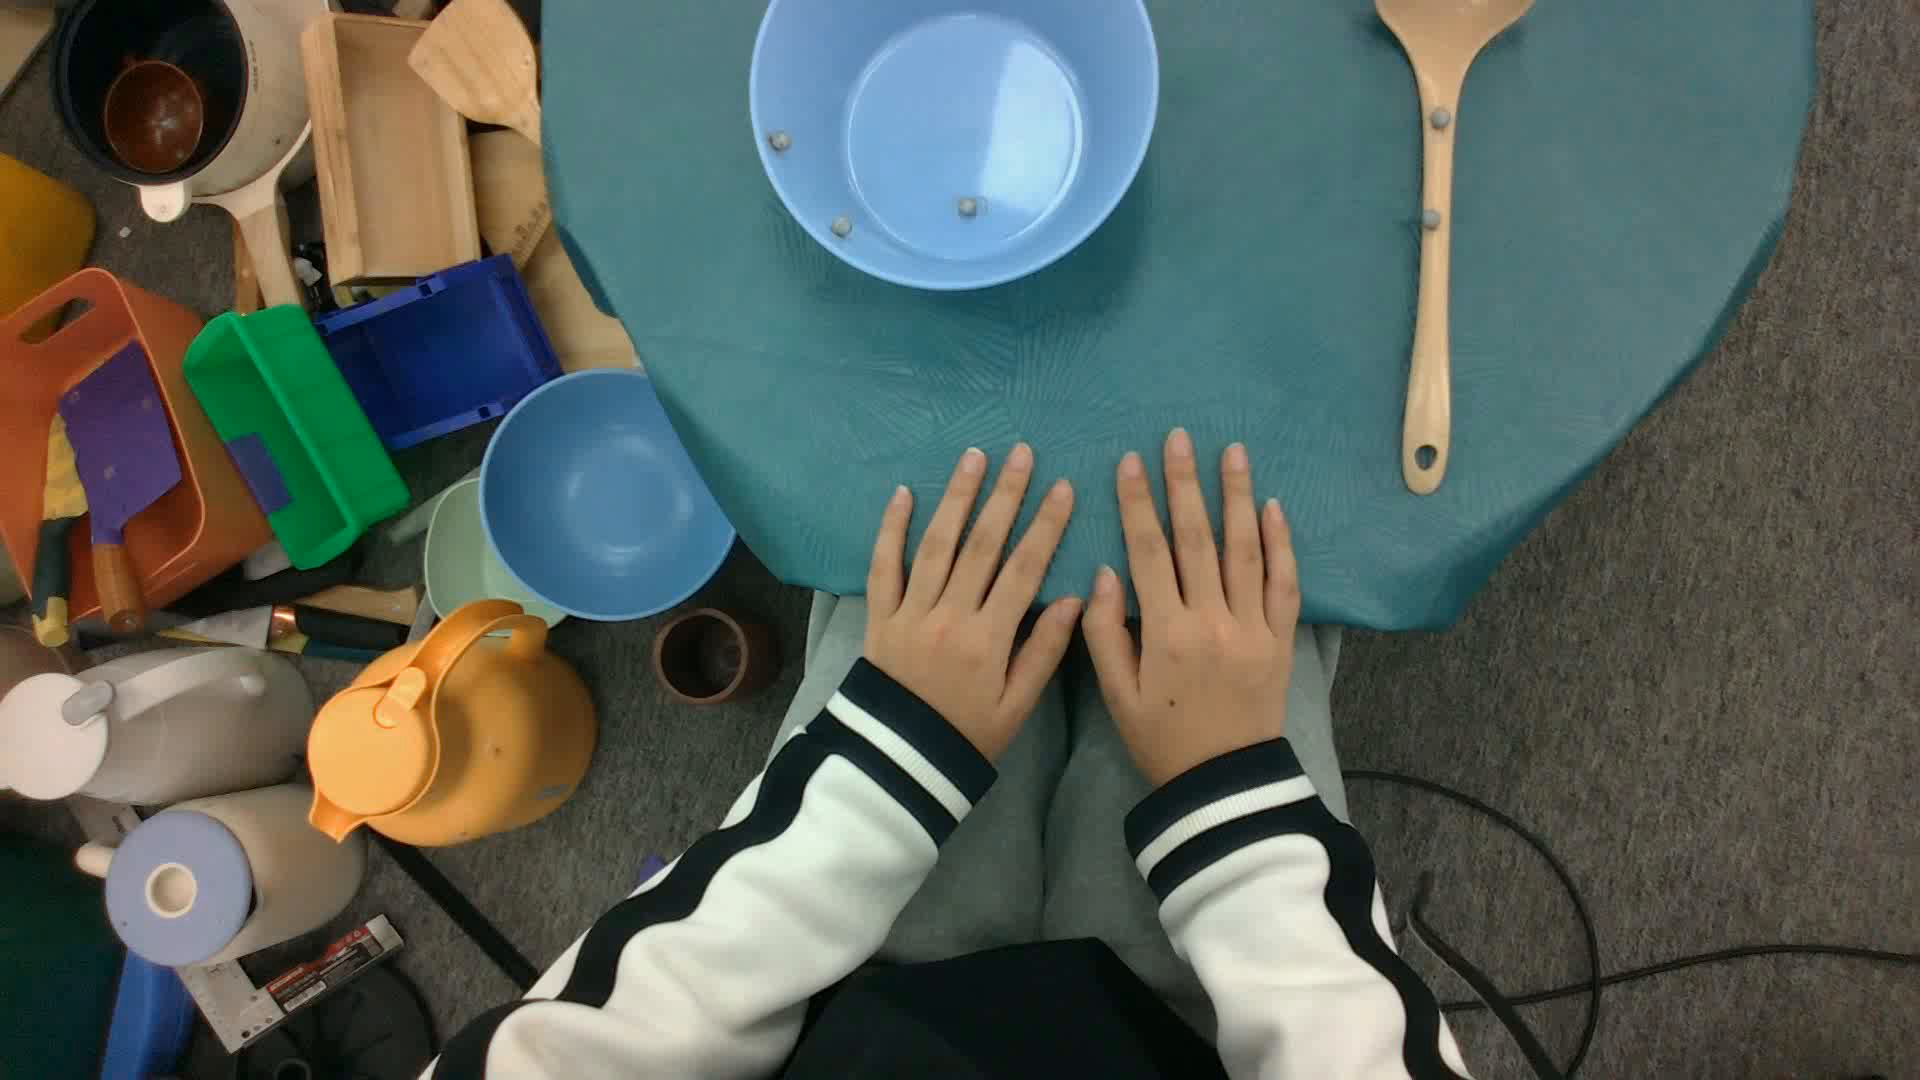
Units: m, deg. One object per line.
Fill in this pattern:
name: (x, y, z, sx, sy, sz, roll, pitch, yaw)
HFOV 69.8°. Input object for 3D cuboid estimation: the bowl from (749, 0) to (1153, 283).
bowl: (-0.002, -0.195, 0.624, 0.176, 0.070, 0.176, 0, 85, 6)

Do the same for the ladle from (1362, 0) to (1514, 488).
ladle: (0.212, -0.153, 0.602, 0.072, 0.073, 0.254, 1, 85, 6)
